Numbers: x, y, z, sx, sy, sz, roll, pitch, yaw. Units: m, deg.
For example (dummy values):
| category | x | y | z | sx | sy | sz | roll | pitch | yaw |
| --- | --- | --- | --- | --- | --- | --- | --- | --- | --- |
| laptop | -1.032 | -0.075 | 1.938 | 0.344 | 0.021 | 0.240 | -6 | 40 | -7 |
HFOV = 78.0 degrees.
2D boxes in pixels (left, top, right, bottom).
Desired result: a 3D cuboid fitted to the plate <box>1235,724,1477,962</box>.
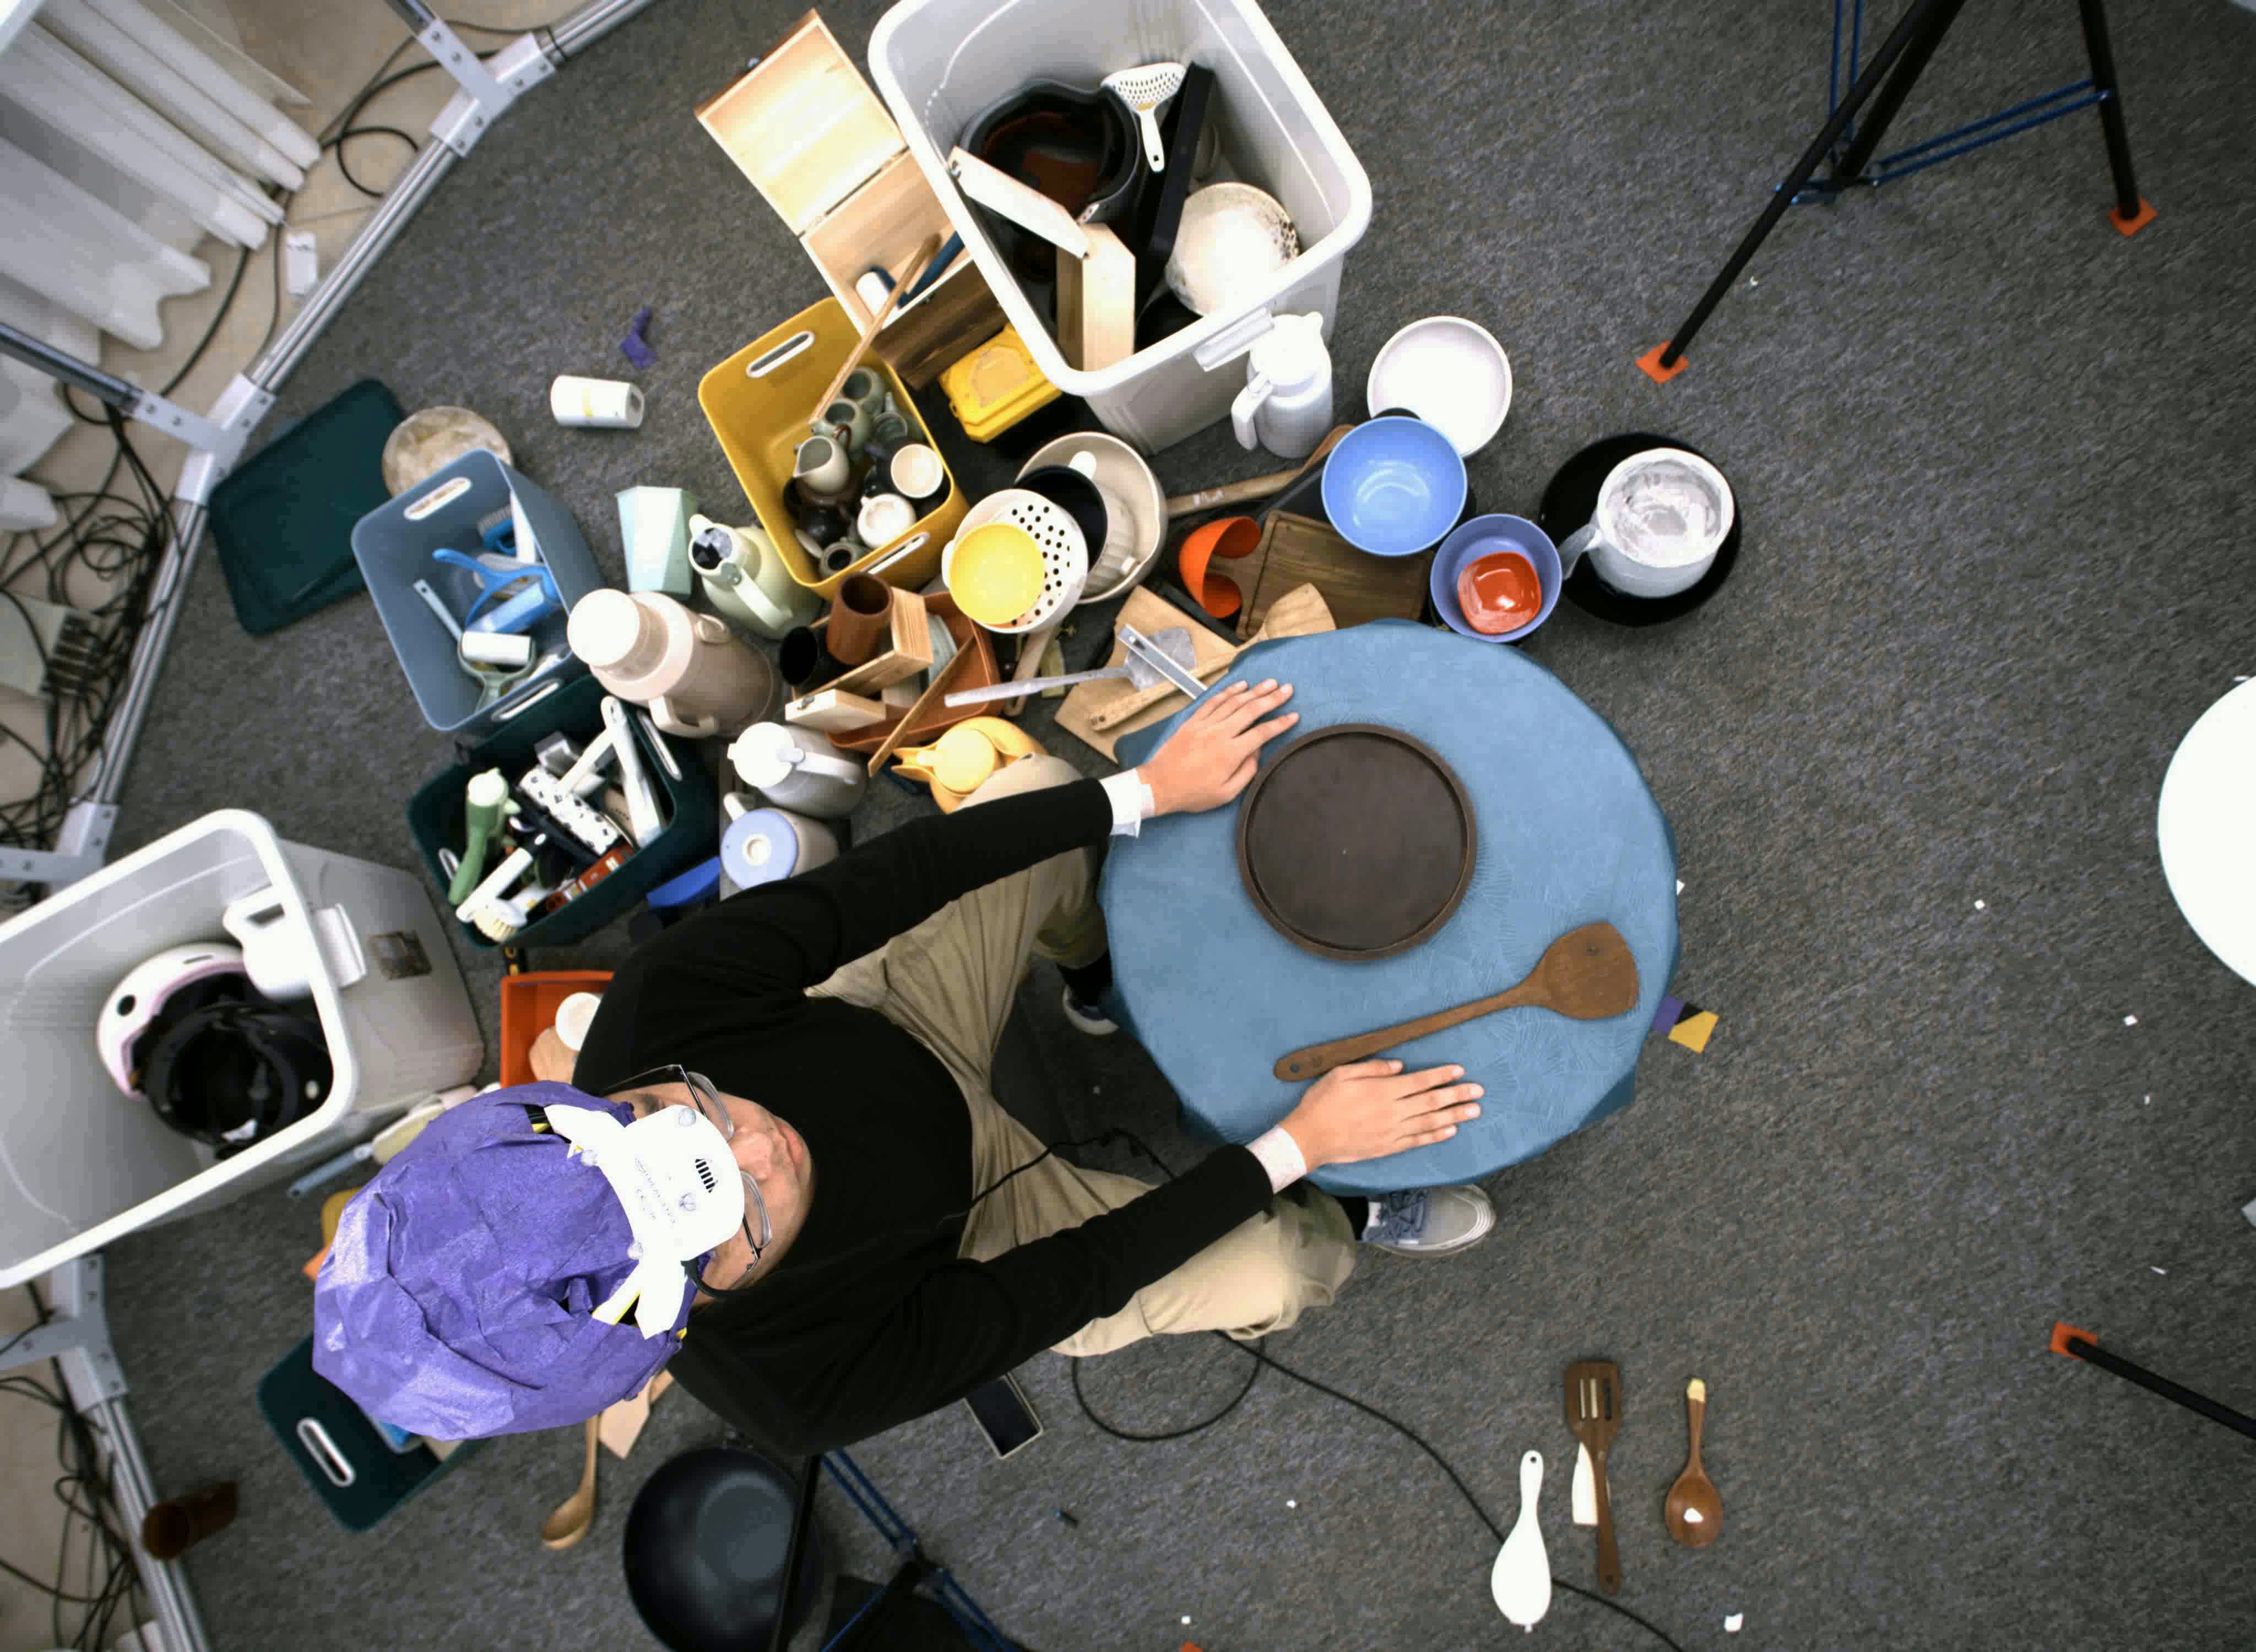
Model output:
| category | x | y | z | sx | sy | sz | roll | pitch | yaw |
| --- | --- | --- | --- | --- | --- | --- | --- | --- | --- |
| plate | 0.239 | 0.016 | 1.458 | 0.256 | 0.029 | 0.254 | -1 | 87 | 9 |

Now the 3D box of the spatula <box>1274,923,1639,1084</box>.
| category | x | y | z | sx | sy | sz | roll | pitch | yaw |
| --- | --- | --- | --- | --- | --- | --- | --- | --- | --- |
| spatula | 0.335 | 0.198 | 1.434 | 0.388 | 0.016 | 0.095 | -19 | 83 | 9 |
